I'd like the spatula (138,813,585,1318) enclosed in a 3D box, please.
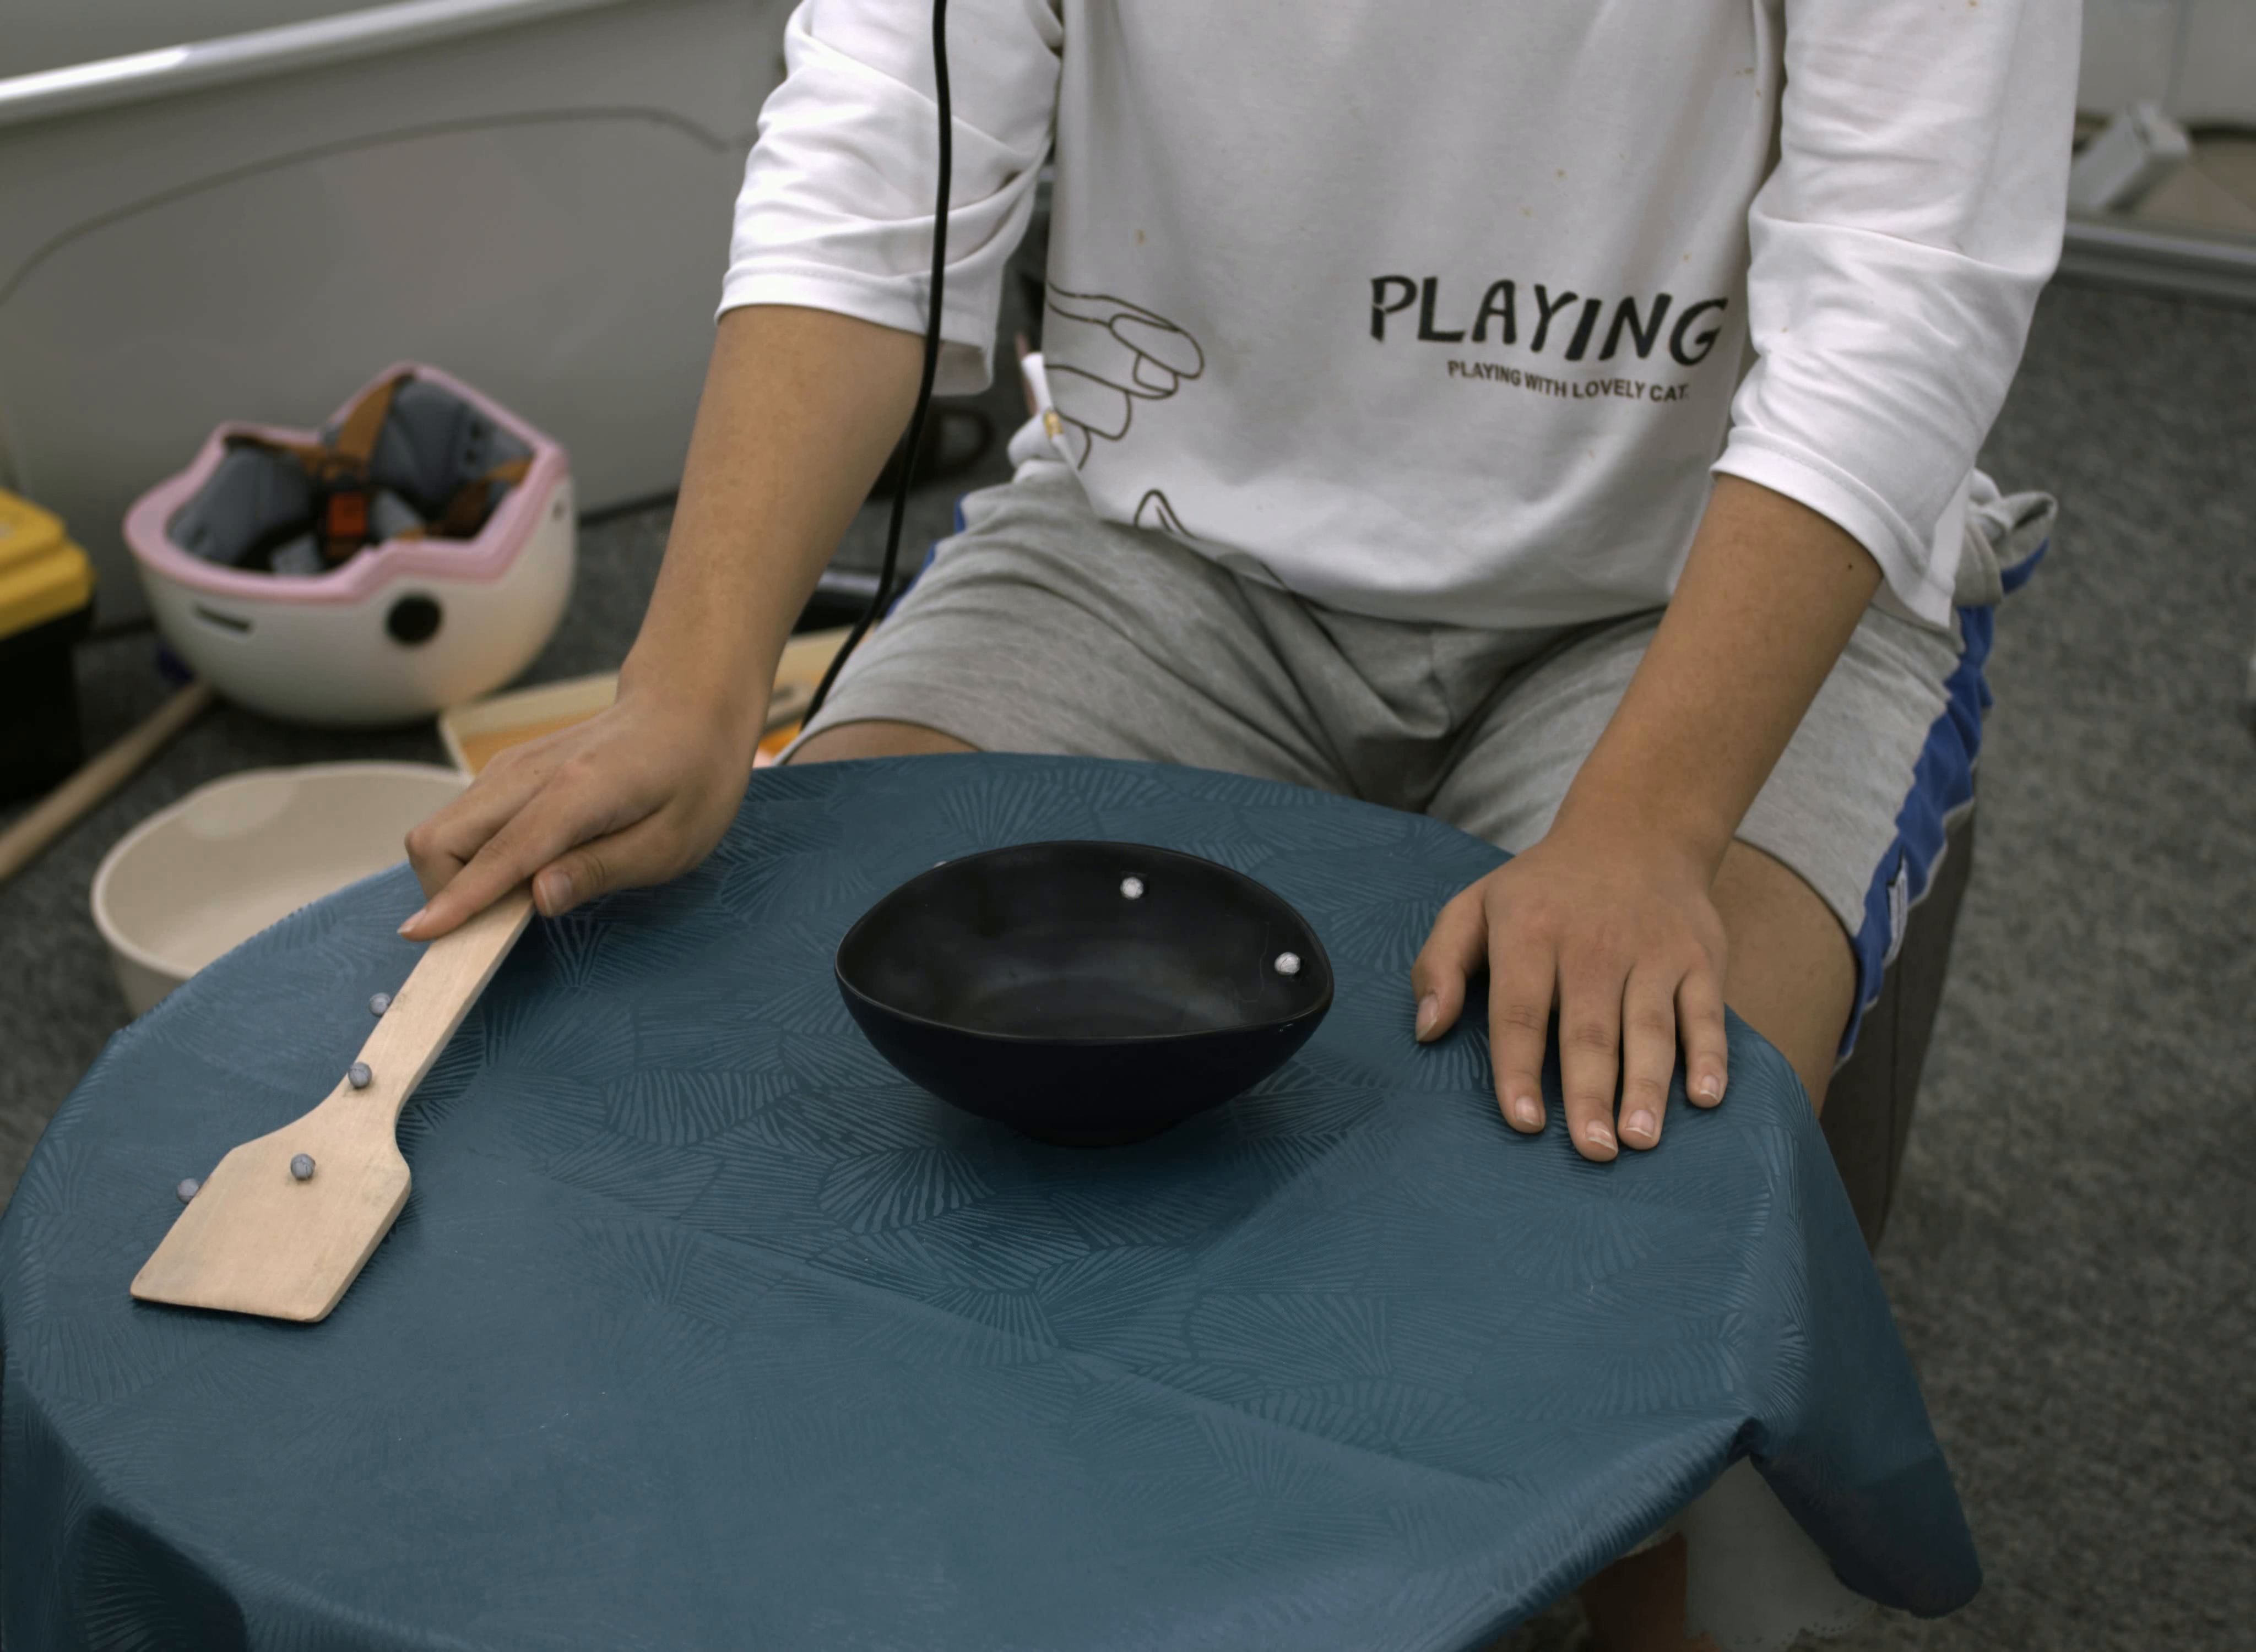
[{"bbox_3d":[-0.251,0.078,1.935,0.072,0.010,0.299,5,34,16],"label":"spatula"}]

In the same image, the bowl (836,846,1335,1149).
[{"bbox_3d":[-0.014,0.065,1.907,0.169,0.066,0.139,3,27,6],"label":"bowl"}]
